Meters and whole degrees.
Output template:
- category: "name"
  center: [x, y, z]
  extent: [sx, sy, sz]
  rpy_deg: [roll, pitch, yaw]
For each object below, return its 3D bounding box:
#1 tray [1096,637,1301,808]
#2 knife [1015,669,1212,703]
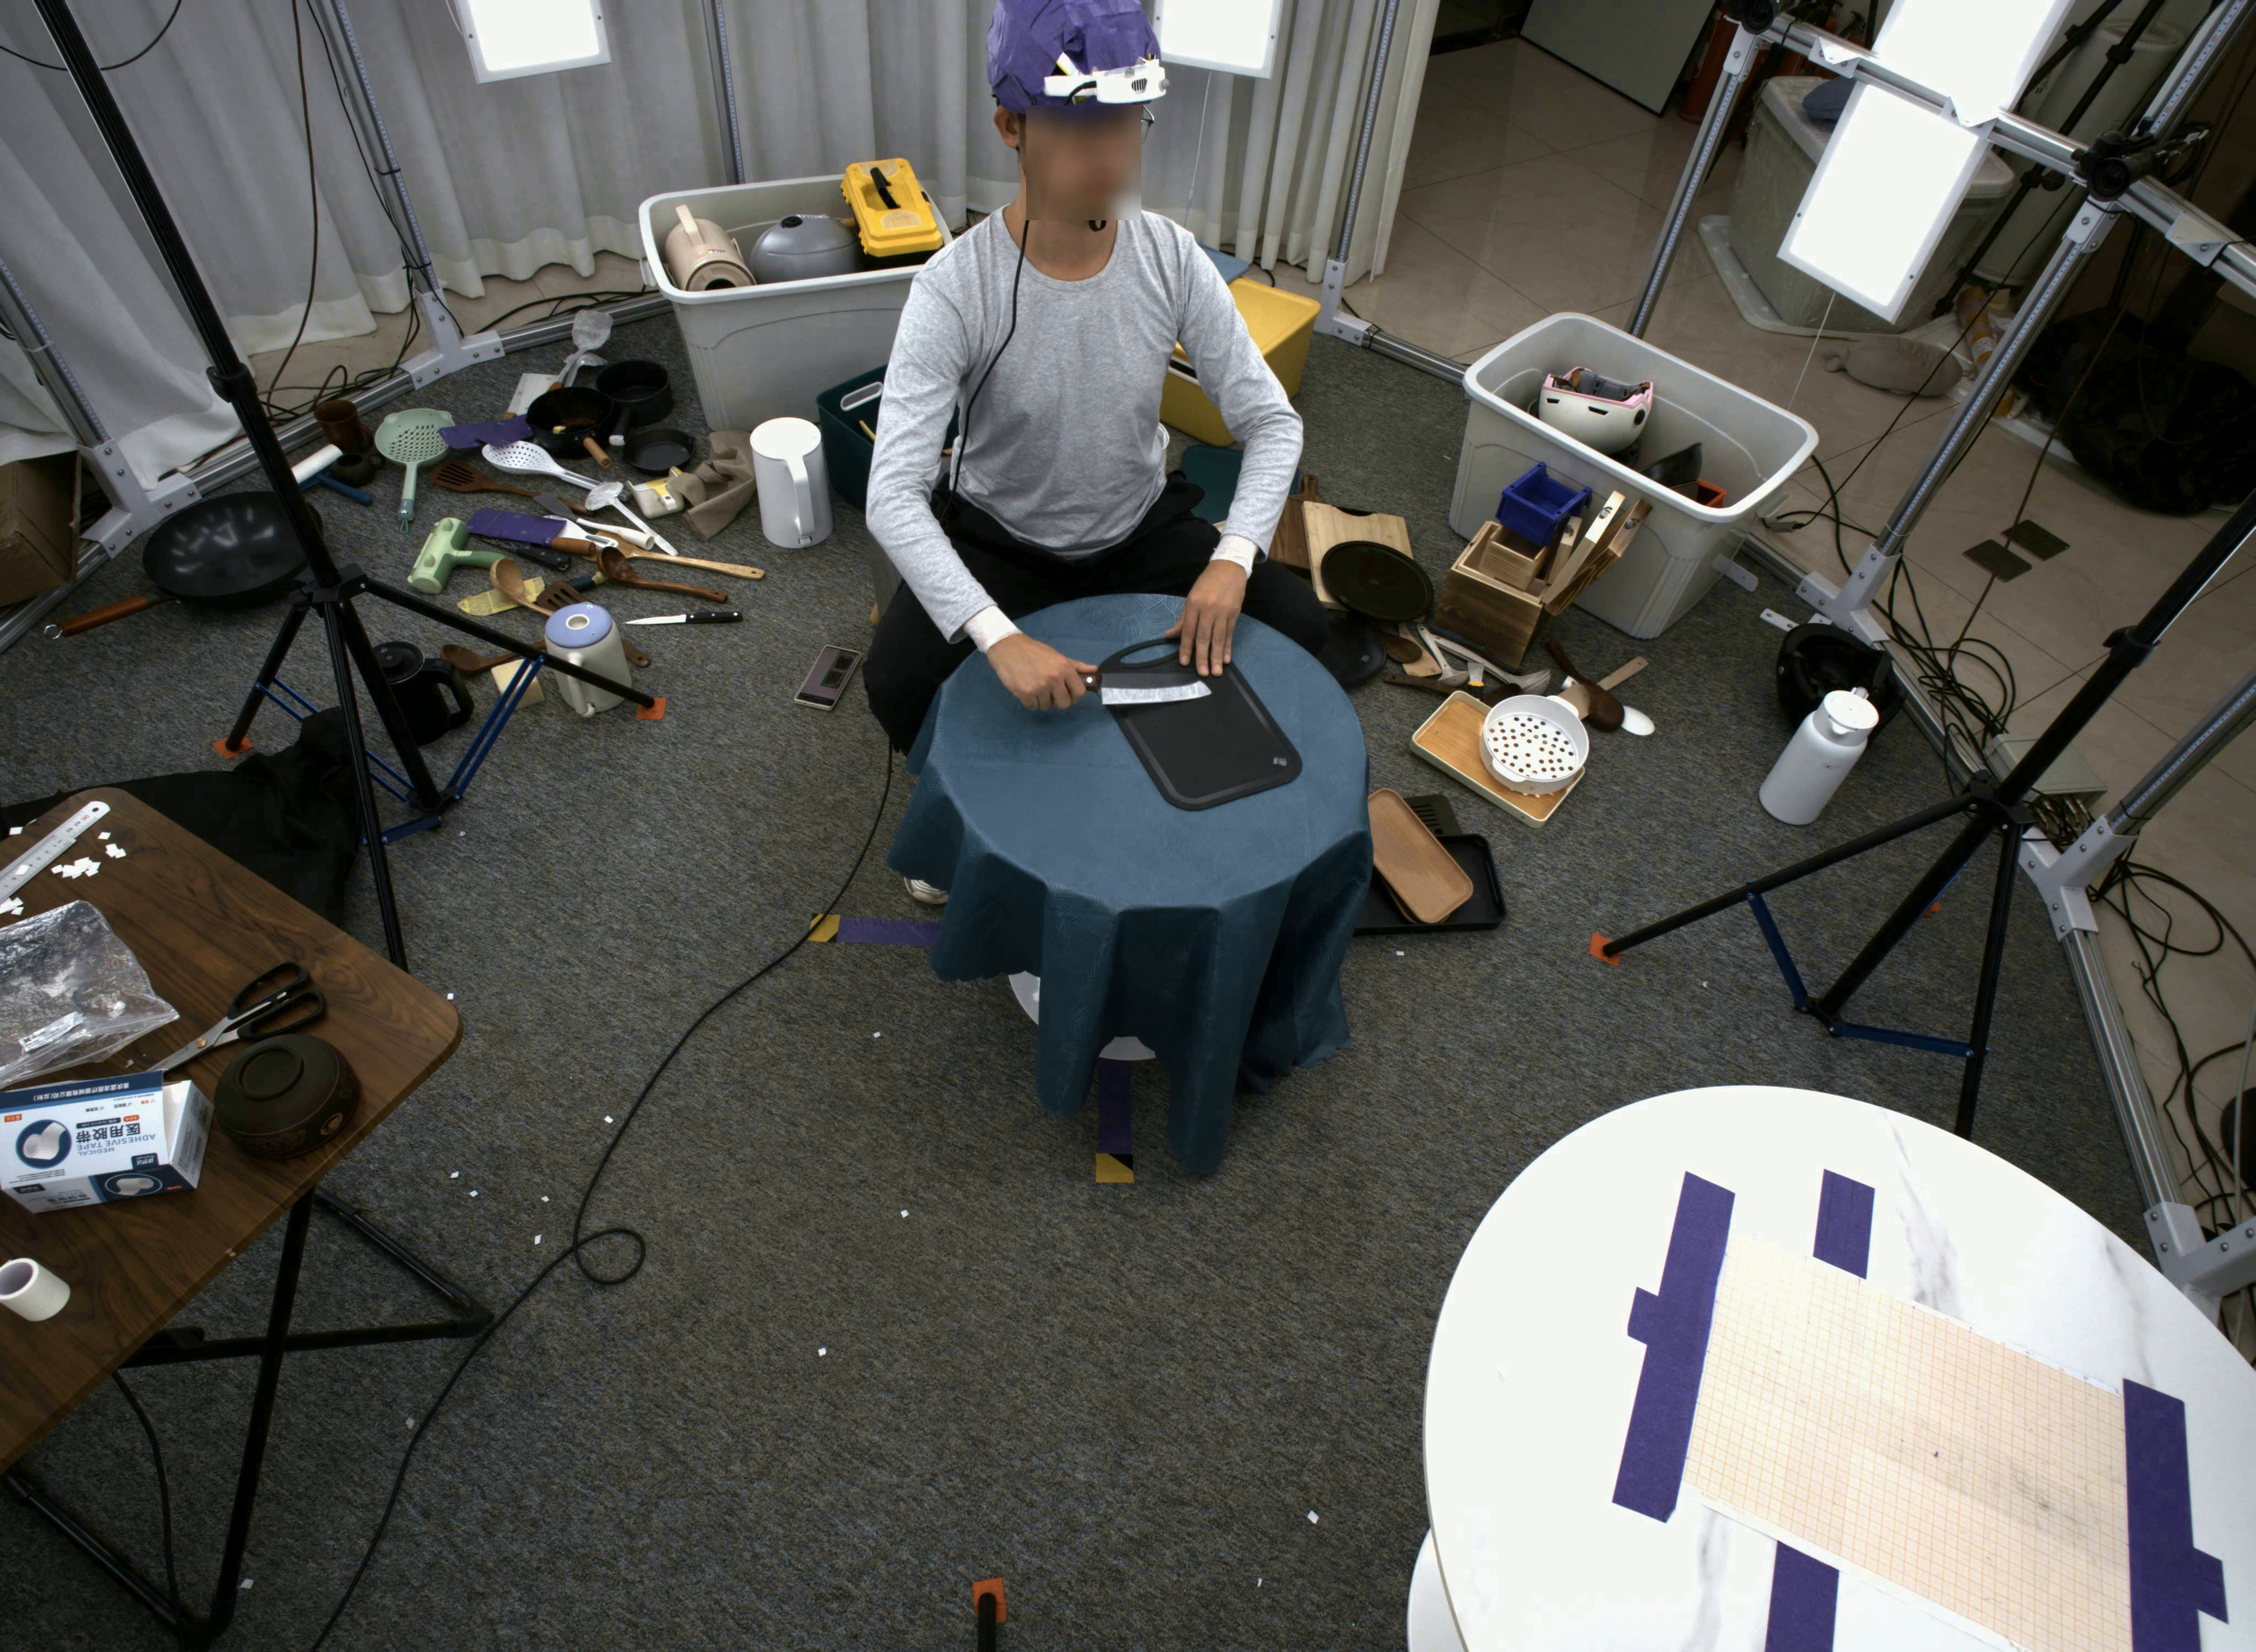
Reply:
- category: "tray"
  center: [0.091, -0.157, 1.806]
  extent: [0.211, 0.009, 0.333]
  rpy_deg: [-16, 52, -17]
- category: "knife"
  center: [-0.016, -0.197, 1.791]
  extent: [0.288, 0.020, 0.051]
  rpy_deg: [-1, 79, -18]
